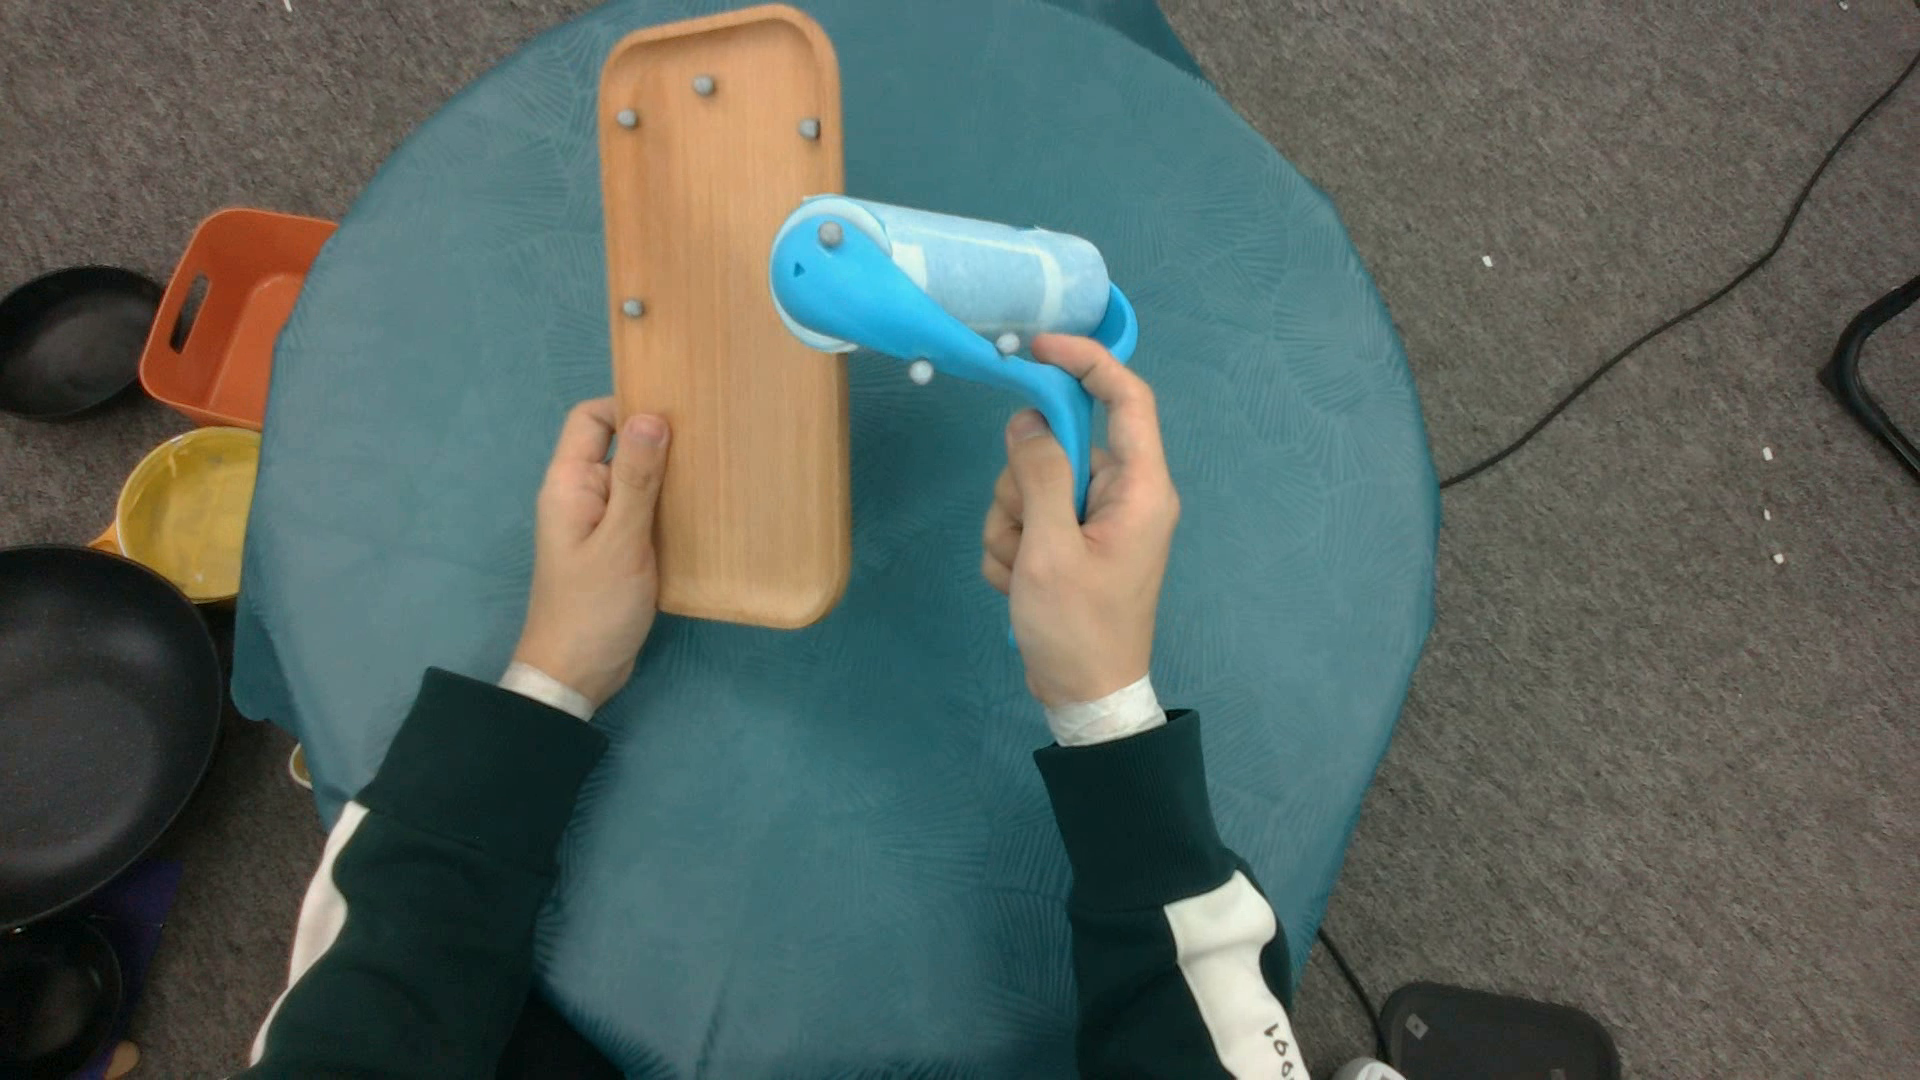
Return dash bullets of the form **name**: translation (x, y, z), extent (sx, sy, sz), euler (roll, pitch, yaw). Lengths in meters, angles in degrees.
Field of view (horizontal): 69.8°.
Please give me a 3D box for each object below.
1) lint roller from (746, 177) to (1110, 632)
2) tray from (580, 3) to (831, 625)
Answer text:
- **lint roller**: translation (0.013, -0.056, 0.557), extent (0.067, 0.230, 0.180), euler (-21, 91, 26)
- **tray**: translation (-0.108, -0.091, 0.584), extent (0.130, 0.023, 0.250), euler (5, 100, 36)
